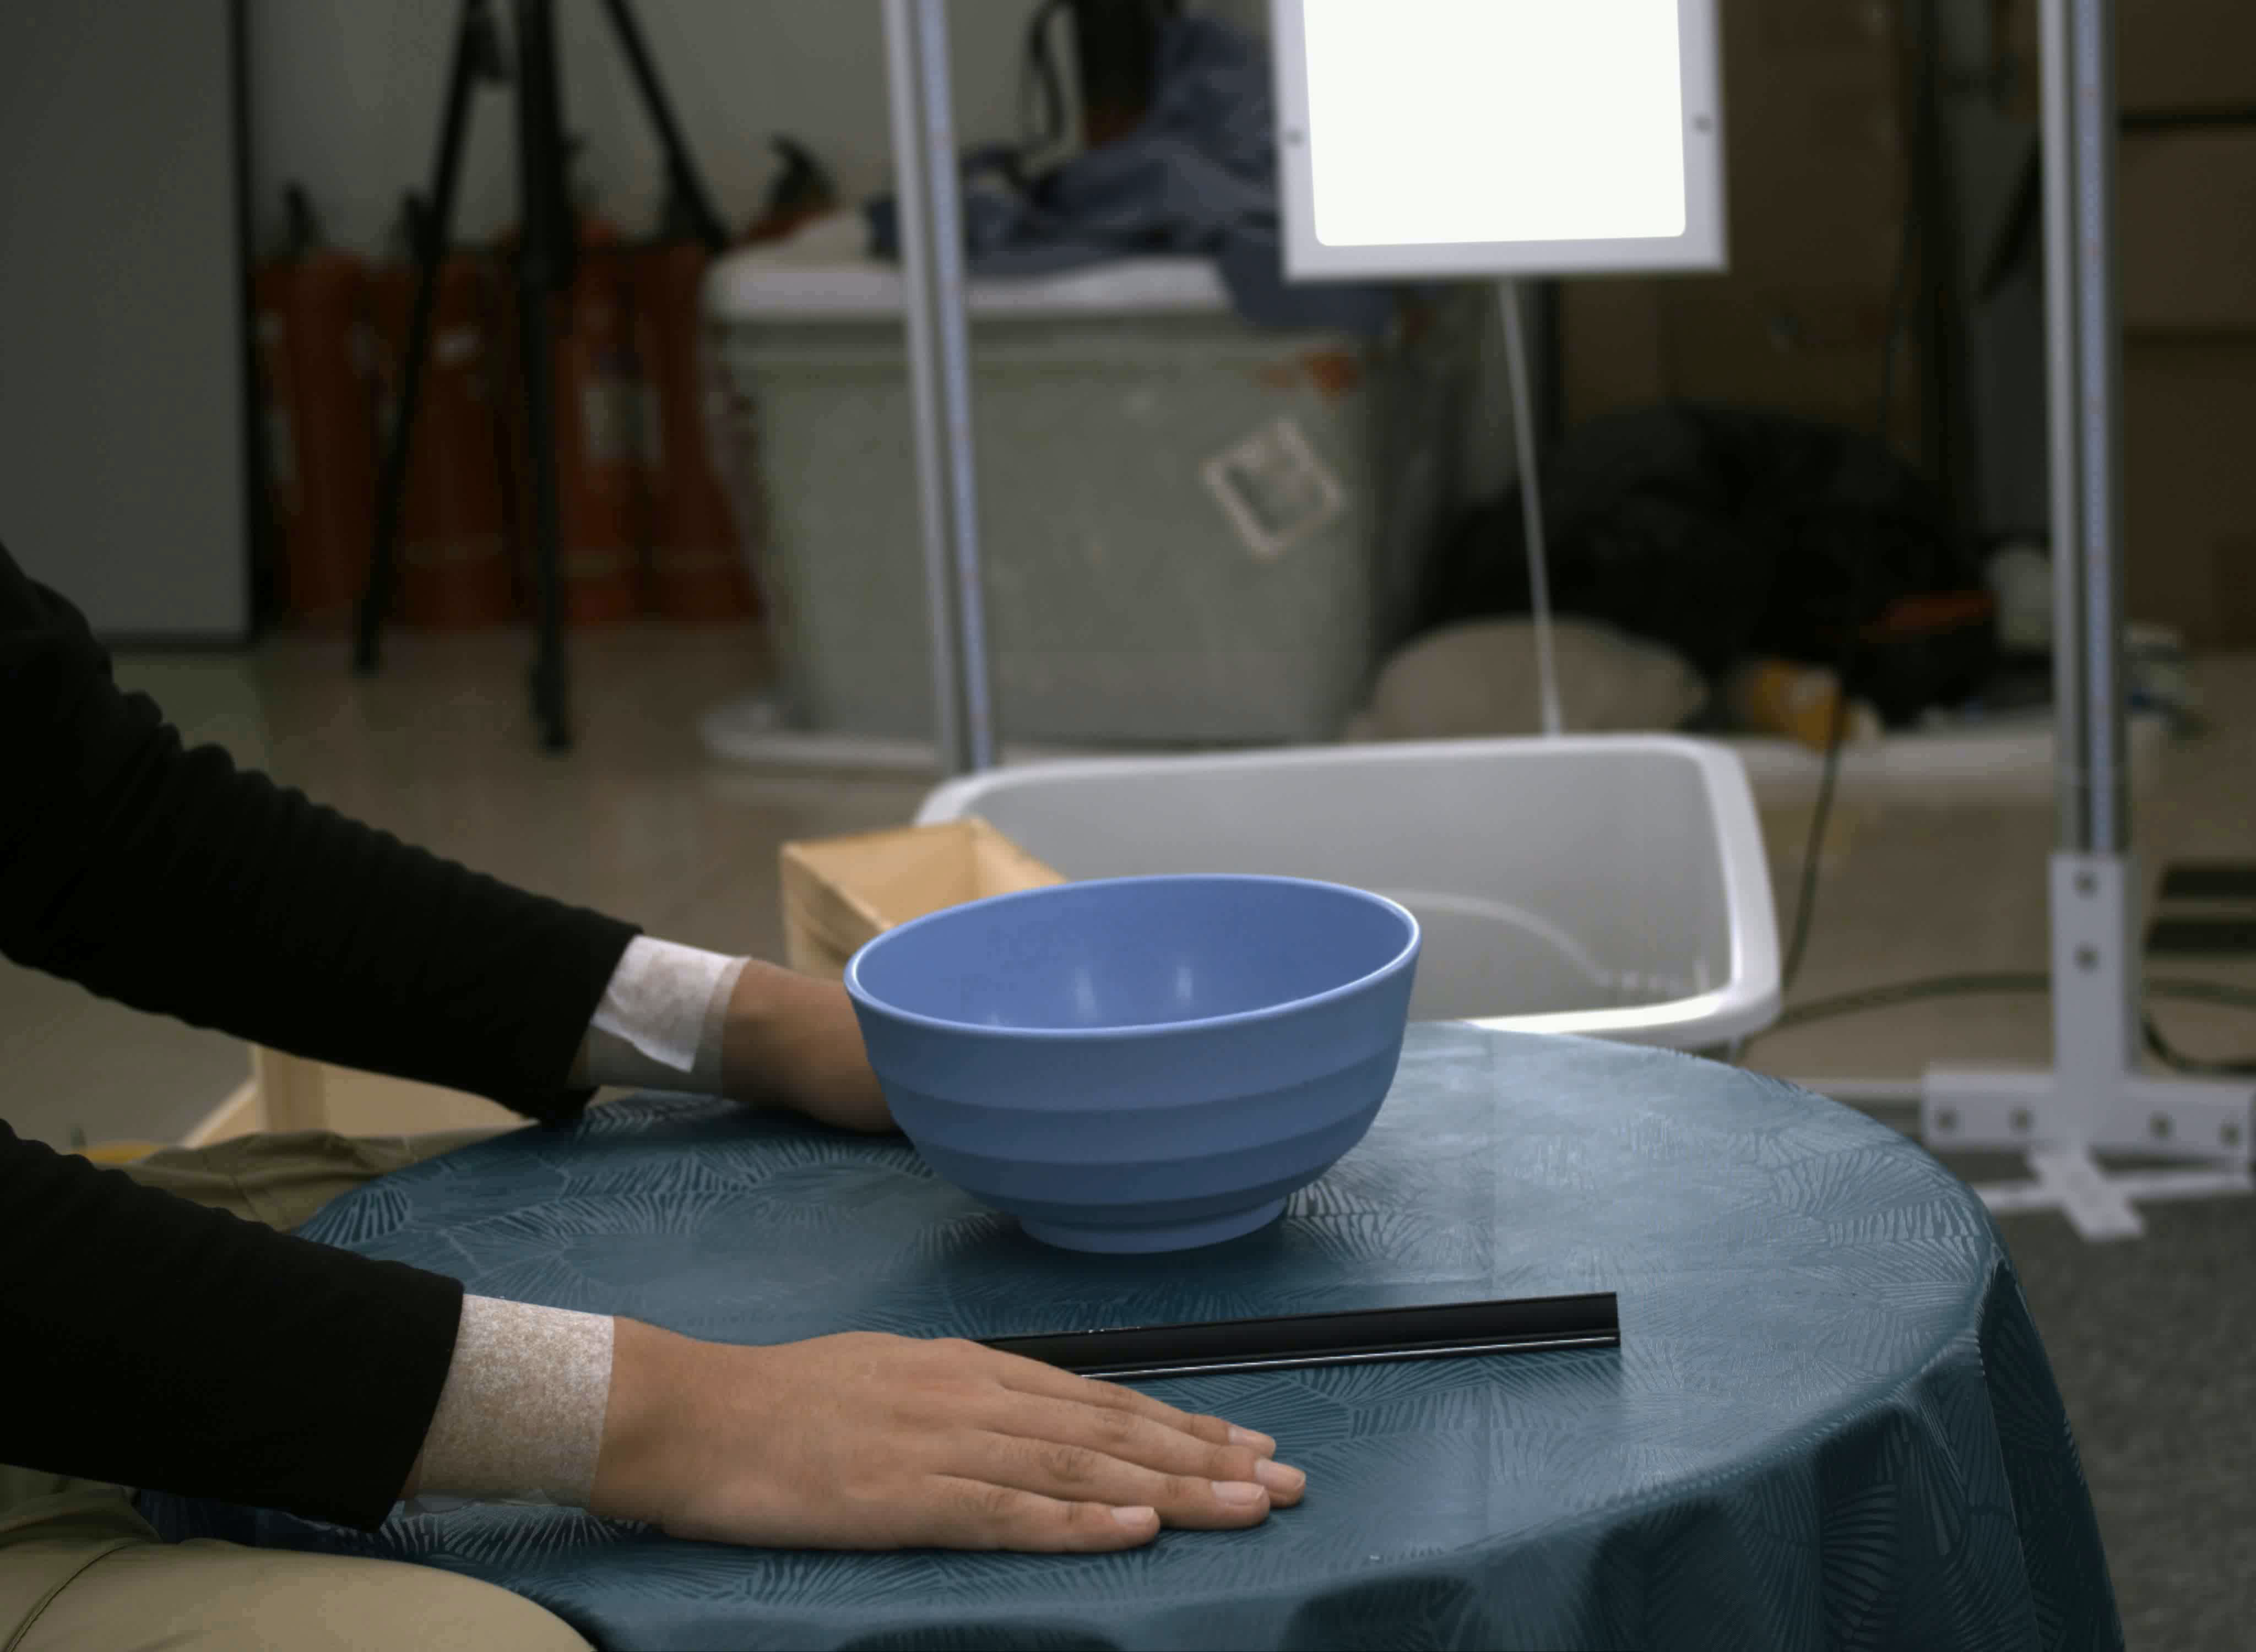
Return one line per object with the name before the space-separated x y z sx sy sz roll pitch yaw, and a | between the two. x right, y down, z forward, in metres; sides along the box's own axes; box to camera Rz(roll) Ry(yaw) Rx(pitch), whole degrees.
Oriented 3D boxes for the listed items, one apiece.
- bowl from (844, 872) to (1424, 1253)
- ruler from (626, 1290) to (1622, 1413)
bowl | 0.005 0.086 1.863 0.196 0.096 0.196 -4 14 0
ruler | -0.002 0.161 1.728 0.312 0.017 0.039 -4 10 4
